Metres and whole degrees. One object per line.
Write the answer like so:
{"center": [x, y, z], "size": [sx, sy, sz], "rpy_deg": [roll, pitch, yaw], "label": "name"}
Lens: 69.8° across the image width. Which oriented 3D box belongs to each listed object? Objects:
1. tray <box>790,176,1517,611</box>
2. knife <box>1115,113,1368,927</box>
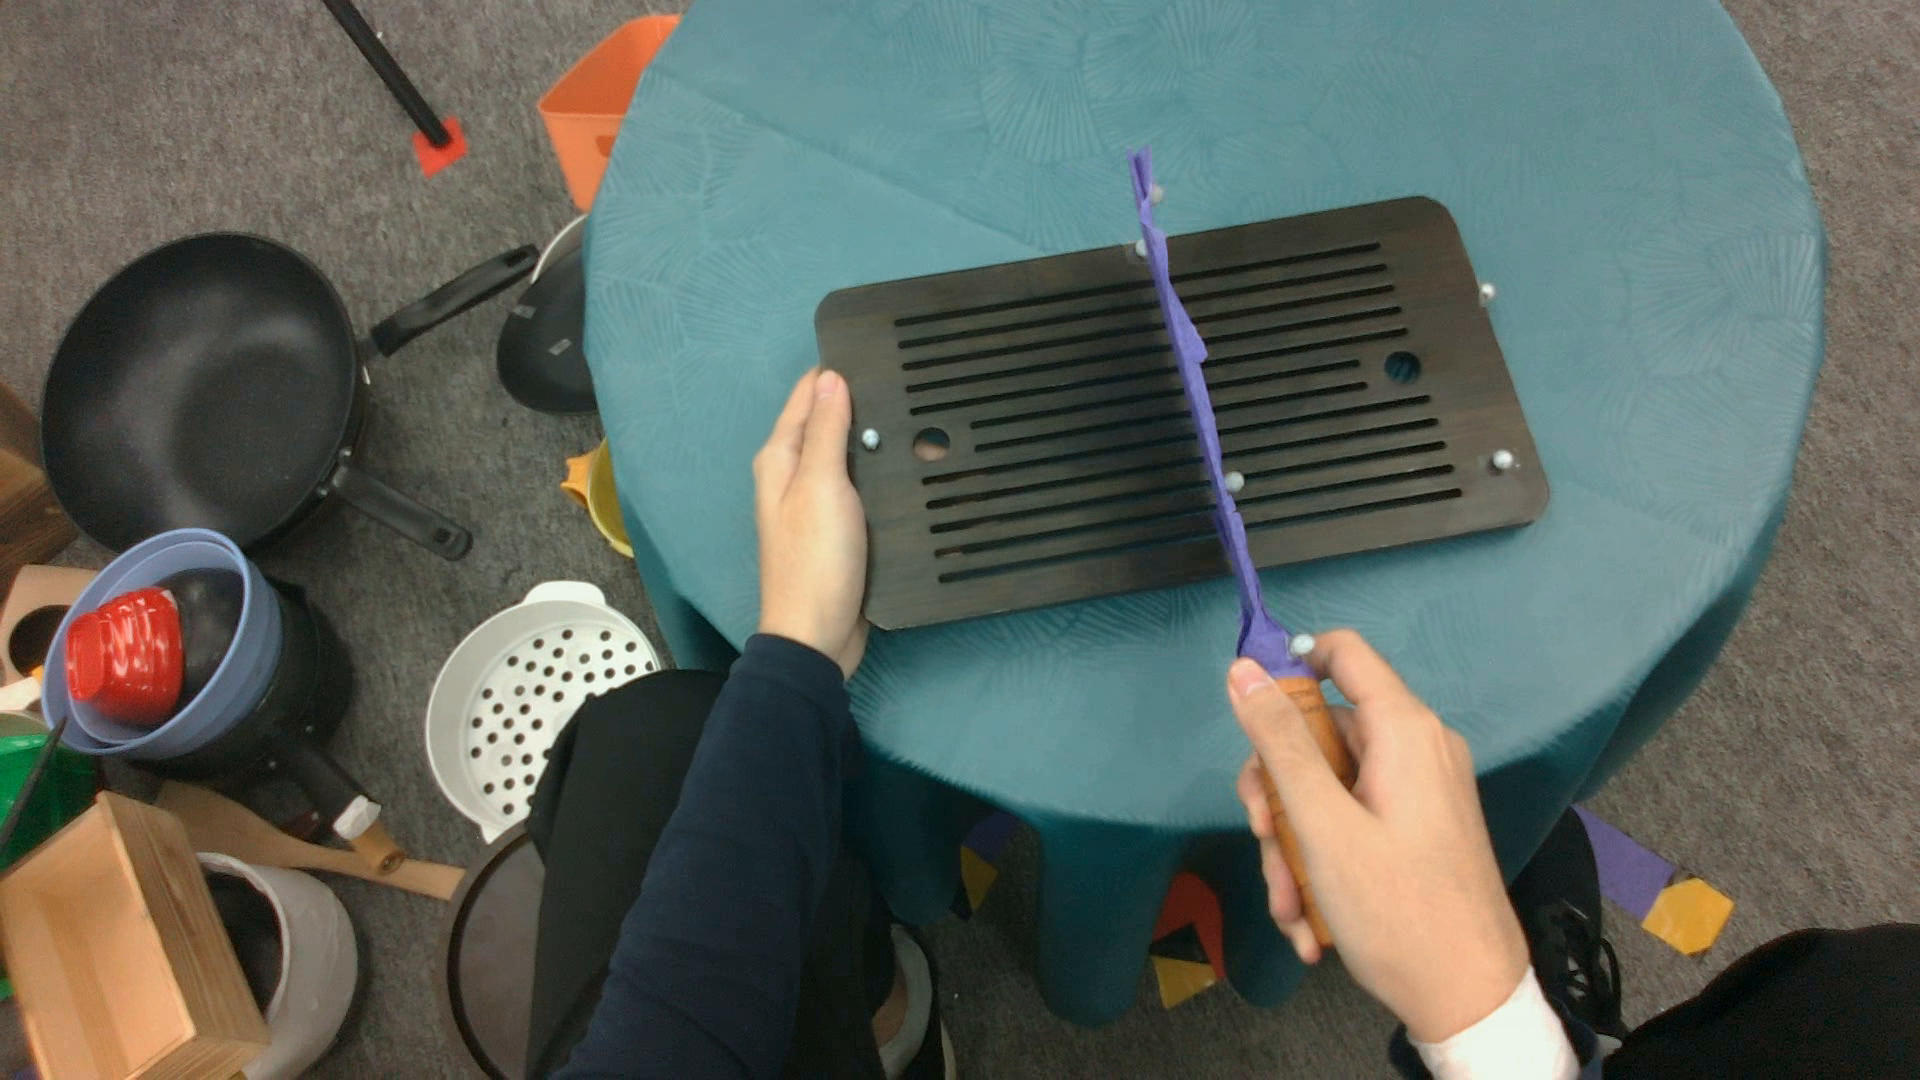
{"center": [0.084, -0.071, 0.627], "size": [0.306, 0.018, 0.170], "rpy_deg": [-10, 69, -4], "label": "tray"}
{"center": [0.104, -0.011, 0.542], "size": [0.032, 0.104, 0.316], "rpy_deg": [-13, 73, 10], "label": "knife"}
